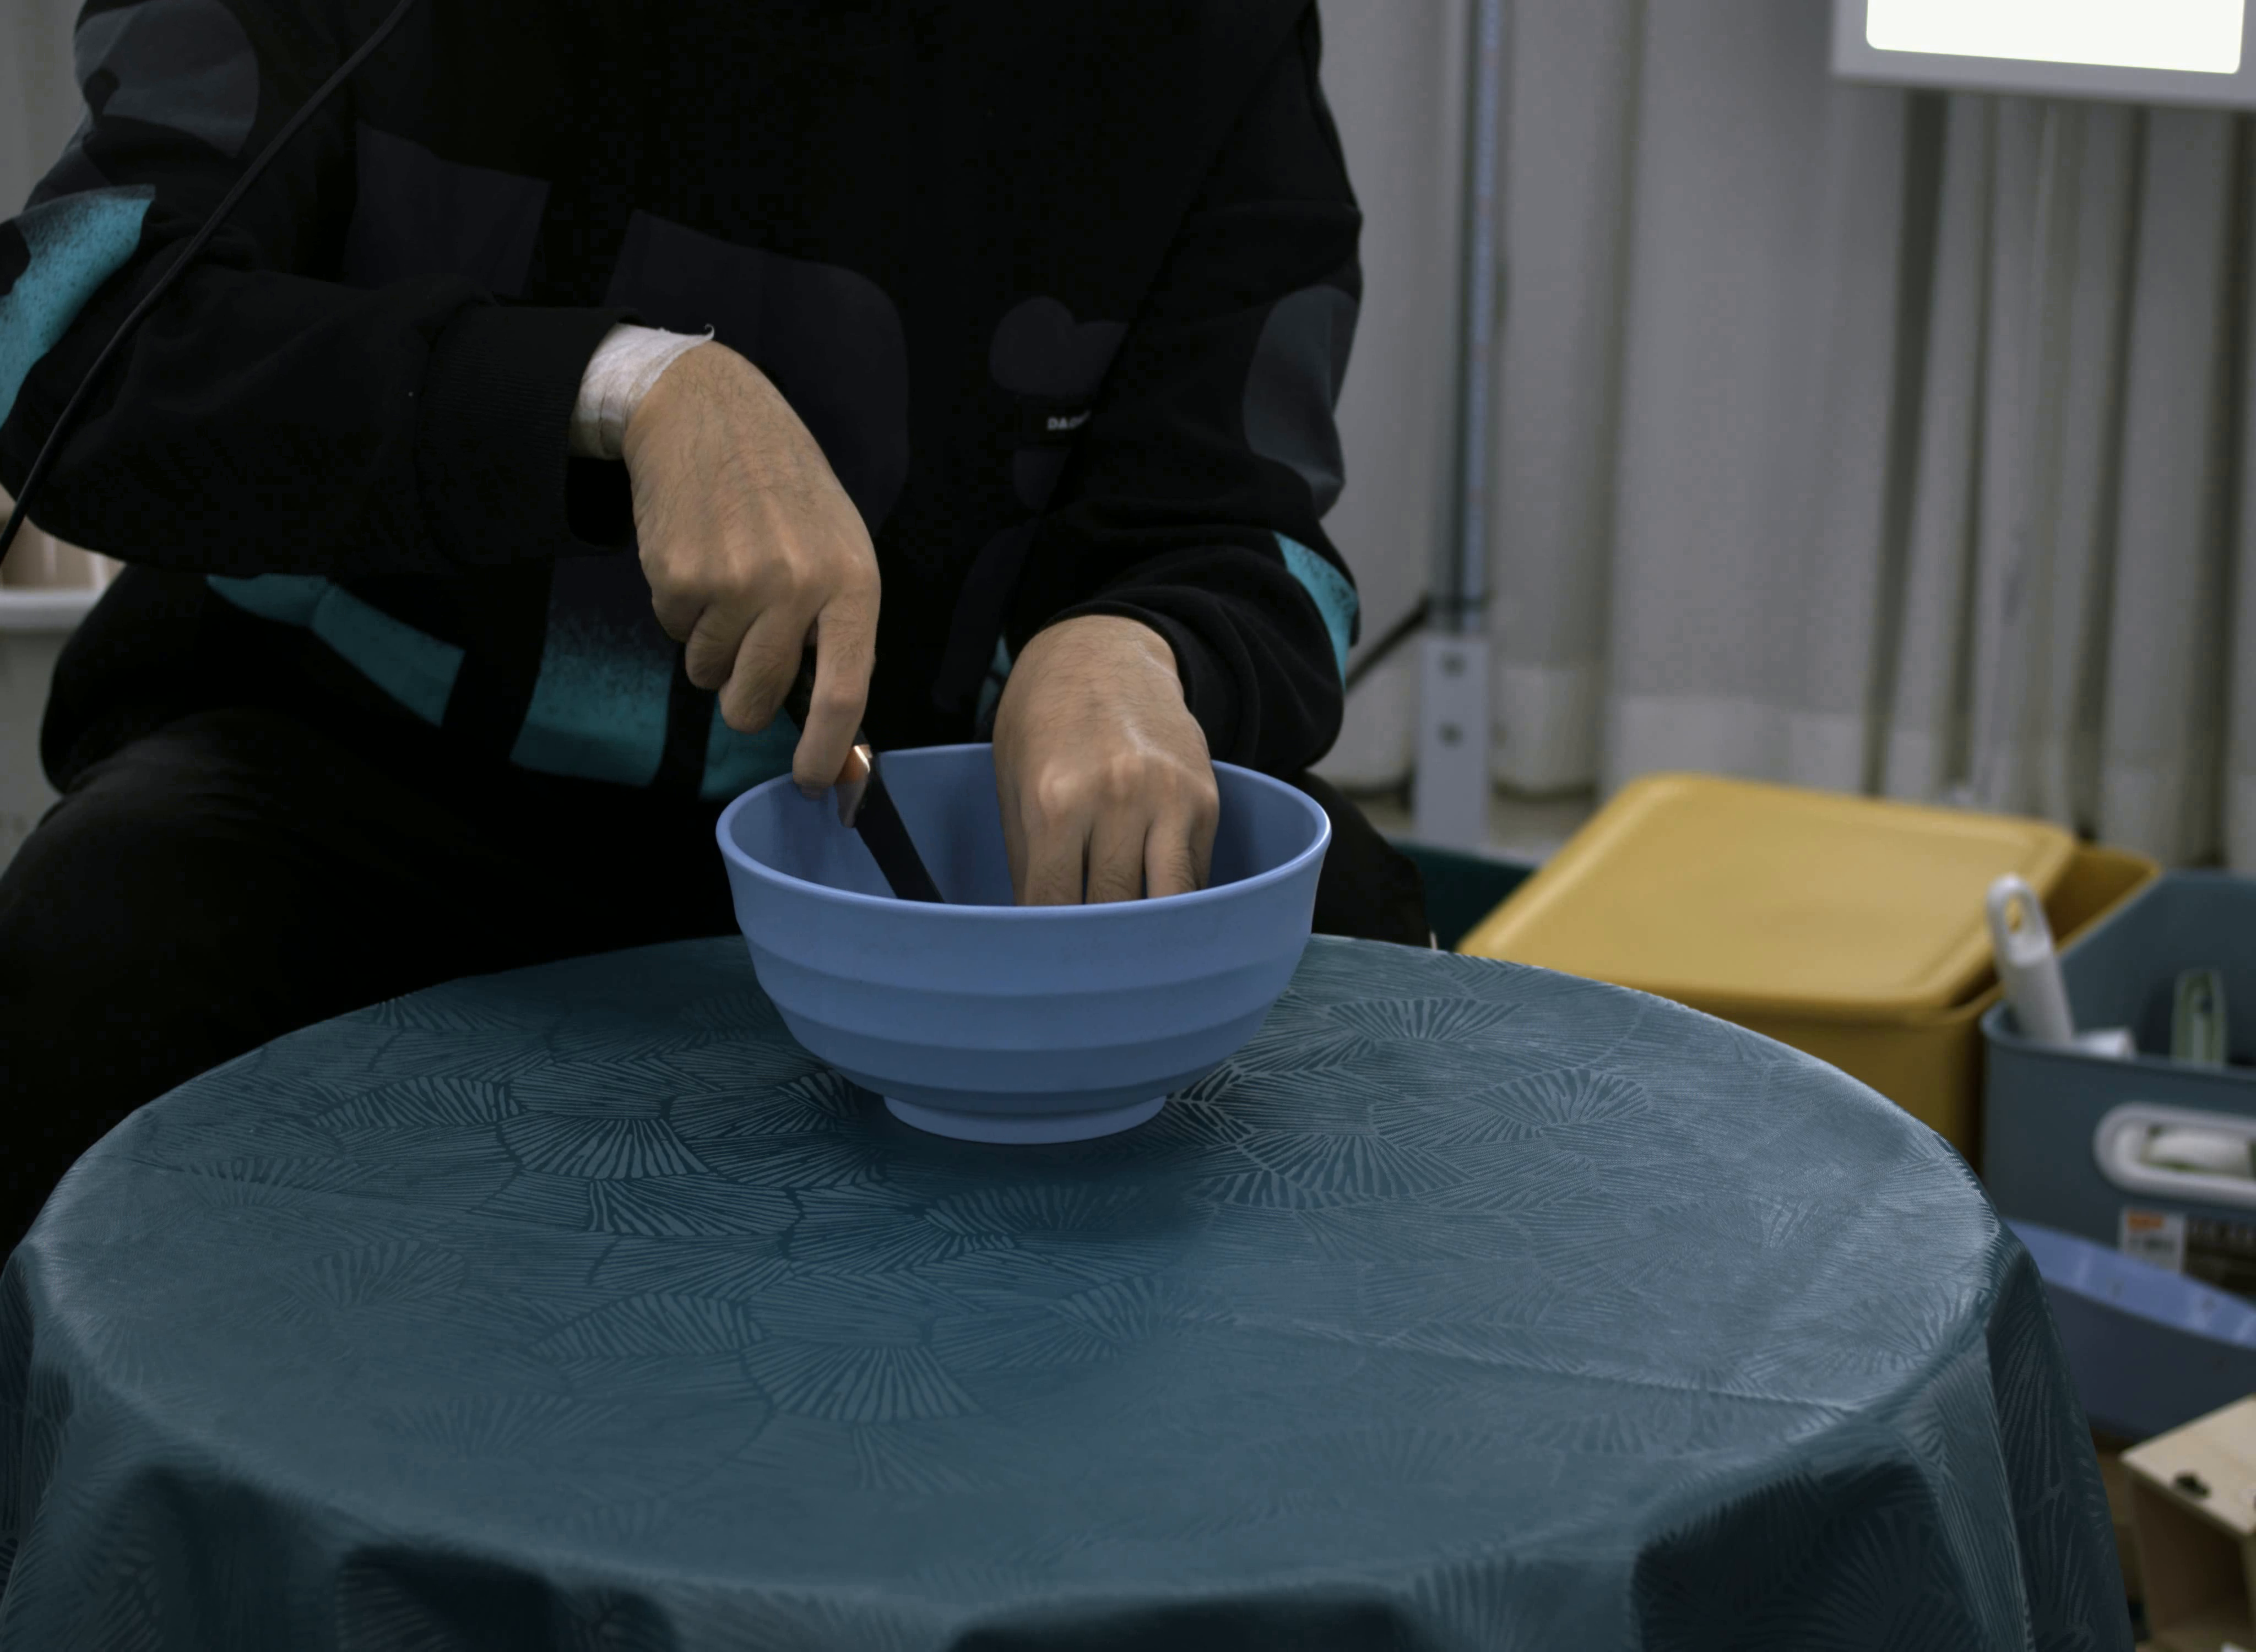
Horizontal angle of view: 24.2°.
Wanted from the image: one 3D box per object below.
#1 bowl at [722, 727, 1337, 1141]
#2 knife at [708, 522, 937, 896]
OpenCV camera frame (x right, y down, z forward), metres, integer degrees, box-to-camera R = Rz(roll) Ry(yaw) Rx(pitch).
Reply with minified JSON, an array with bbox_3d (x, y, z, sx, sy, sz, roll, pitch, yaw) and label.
[{"bbox_3d":[-0.032,0.041,1.691,0.196,0.096,0.195,2,18,0],"label":"bowl"},{"bbox_3d":[-0.084,-0.004,1.717,0.017,0.026,0.224,-12,65,-41],"label":"knife"}]
